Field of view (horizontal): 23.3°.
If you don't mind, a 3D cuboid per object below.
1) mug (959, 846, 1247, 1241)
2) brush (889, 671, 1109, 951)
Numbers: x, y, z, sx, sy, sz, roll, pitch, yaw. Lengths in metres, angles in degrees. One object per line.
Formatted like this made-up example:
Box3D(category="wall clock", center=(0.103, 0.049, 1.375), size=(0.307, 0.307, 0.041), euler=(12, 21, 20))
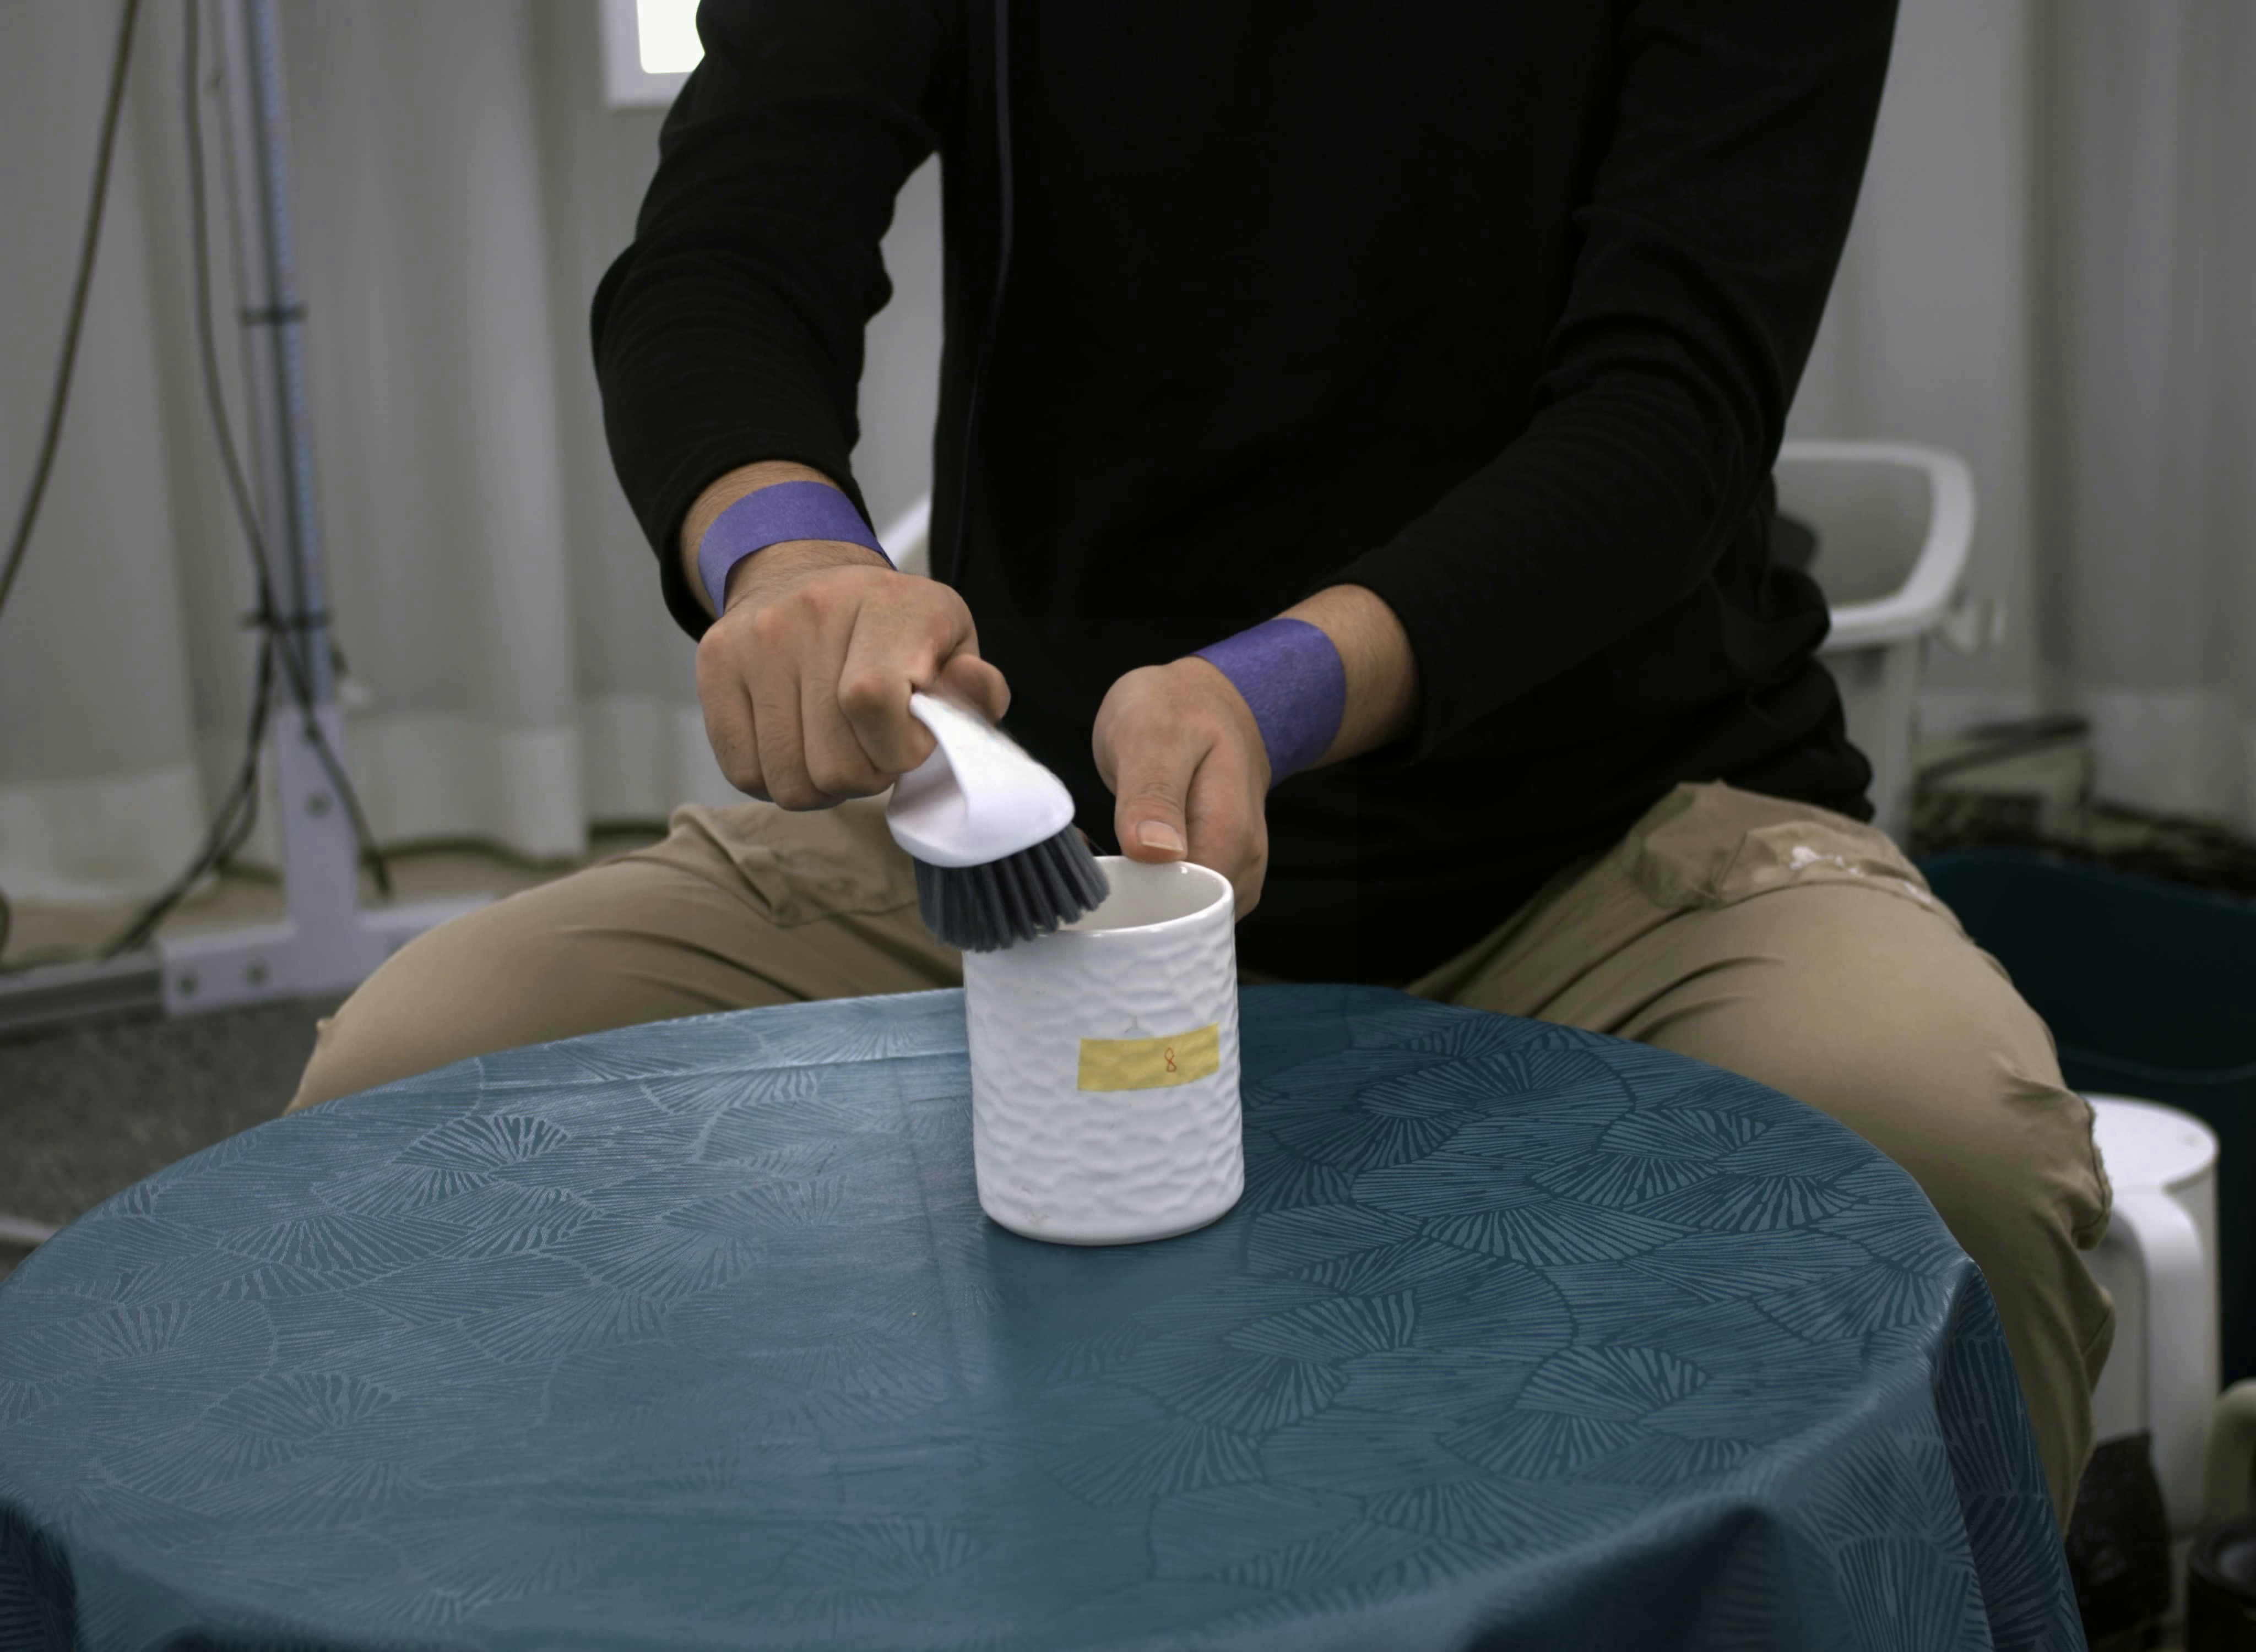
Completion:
Box3D(category="mug", center=(-0.008, 0.063, 1.705), size=(0.084, 0.101, 0.119), euler=(-5, 16, -1))
Box3D(category="brush", center=(-0.046, -0.010, 1.636), size=(0.050, 0.072, 0.100), euler=(-23, 15, -9))
